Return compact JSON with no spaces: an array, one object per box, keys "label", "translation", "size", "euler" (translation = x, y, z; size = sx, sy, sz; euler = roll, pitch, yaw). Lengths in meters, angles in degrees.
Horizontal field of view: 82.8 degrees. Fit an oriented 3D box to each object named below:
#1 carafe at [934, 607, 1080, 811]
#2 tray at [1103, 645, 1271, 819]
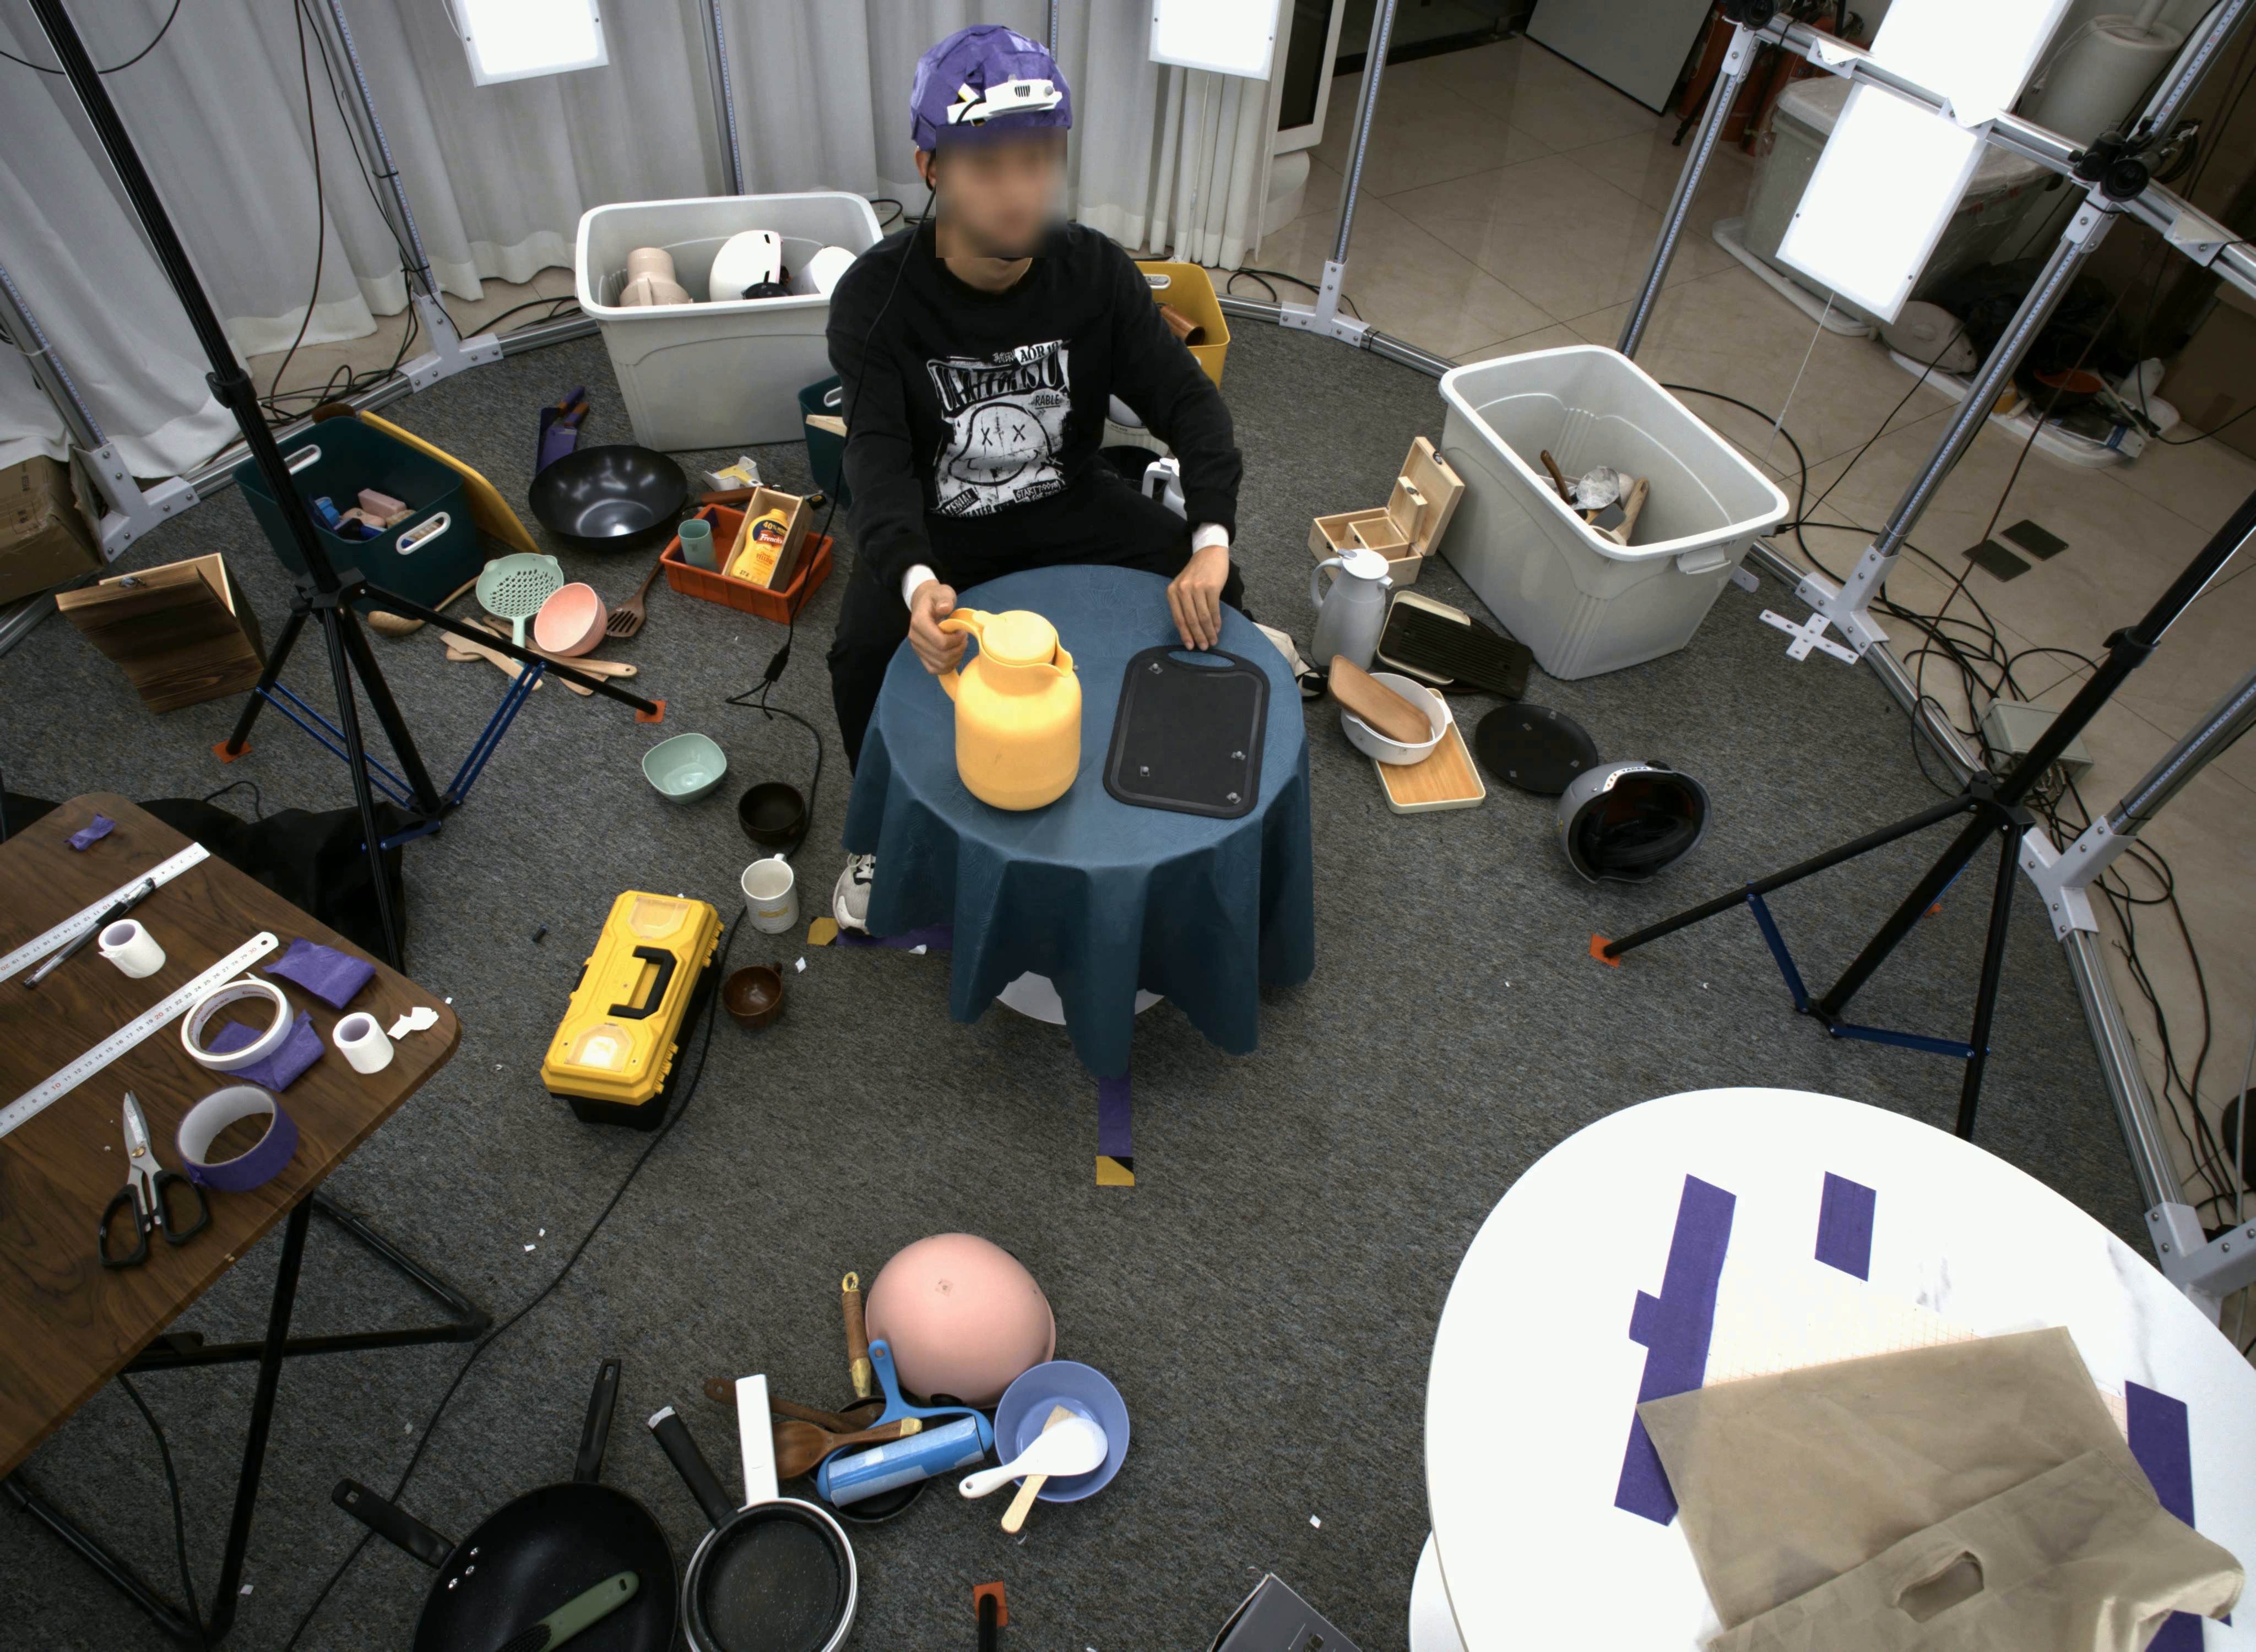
[{"label":"carafe","translation":[-0.157,-0.160,1.630],"size":[0.204,0.254,0.165],"euler":[31,52,19]},{"label":"tray","translation":[0.087,-0.144,1.795],"size":[0.211,0.009,0.333],"euler":[9,49,4]}]
